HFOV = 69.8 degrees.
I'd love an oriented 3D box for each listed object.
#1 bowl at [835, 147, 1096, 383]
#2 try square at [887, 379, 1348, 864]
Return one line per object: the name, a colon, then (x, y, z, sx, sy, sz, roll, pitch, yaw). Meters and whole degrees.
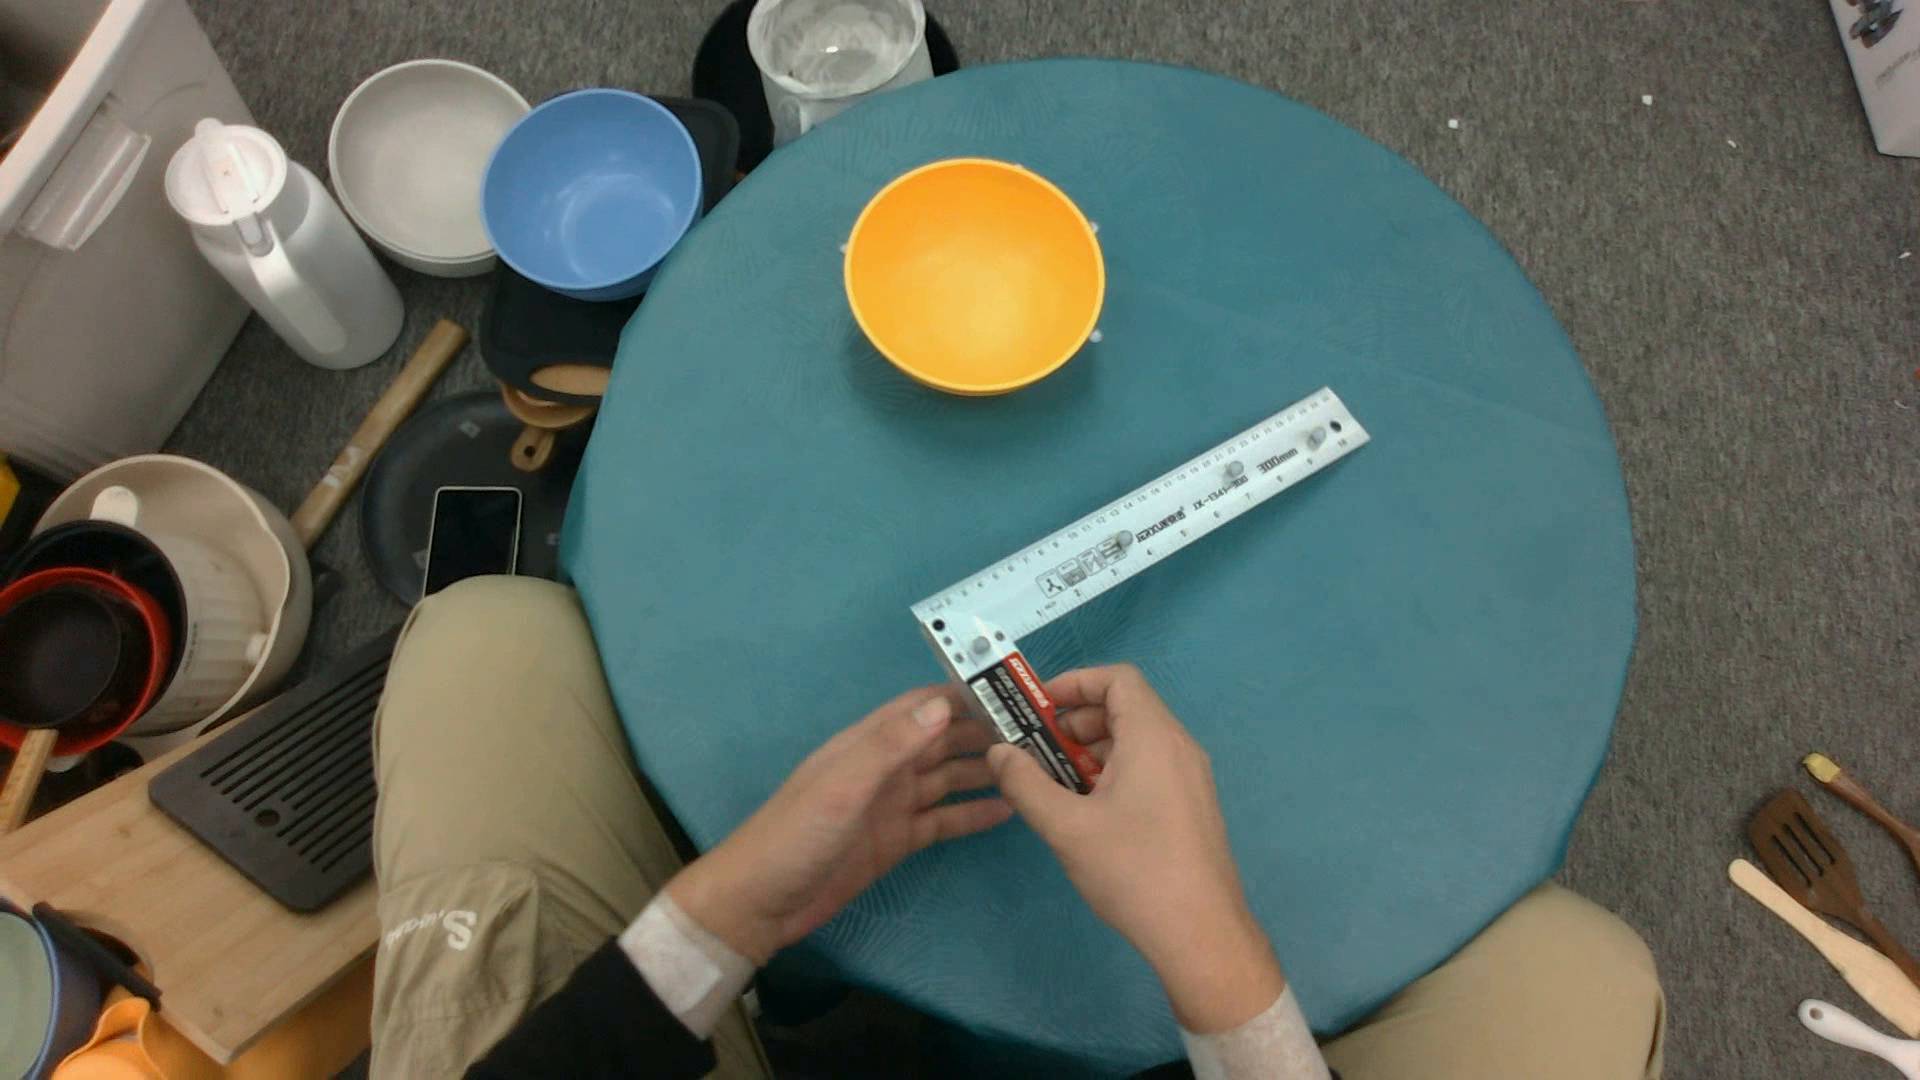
bowl: (0.003, -0.147, 0.788, 0.145, 0.060, 0.145, 0, 73, -1)
try square: (0.123, 0.027, 0.719, 0.314, 0.016, 0.152, -26, 77, -30)
